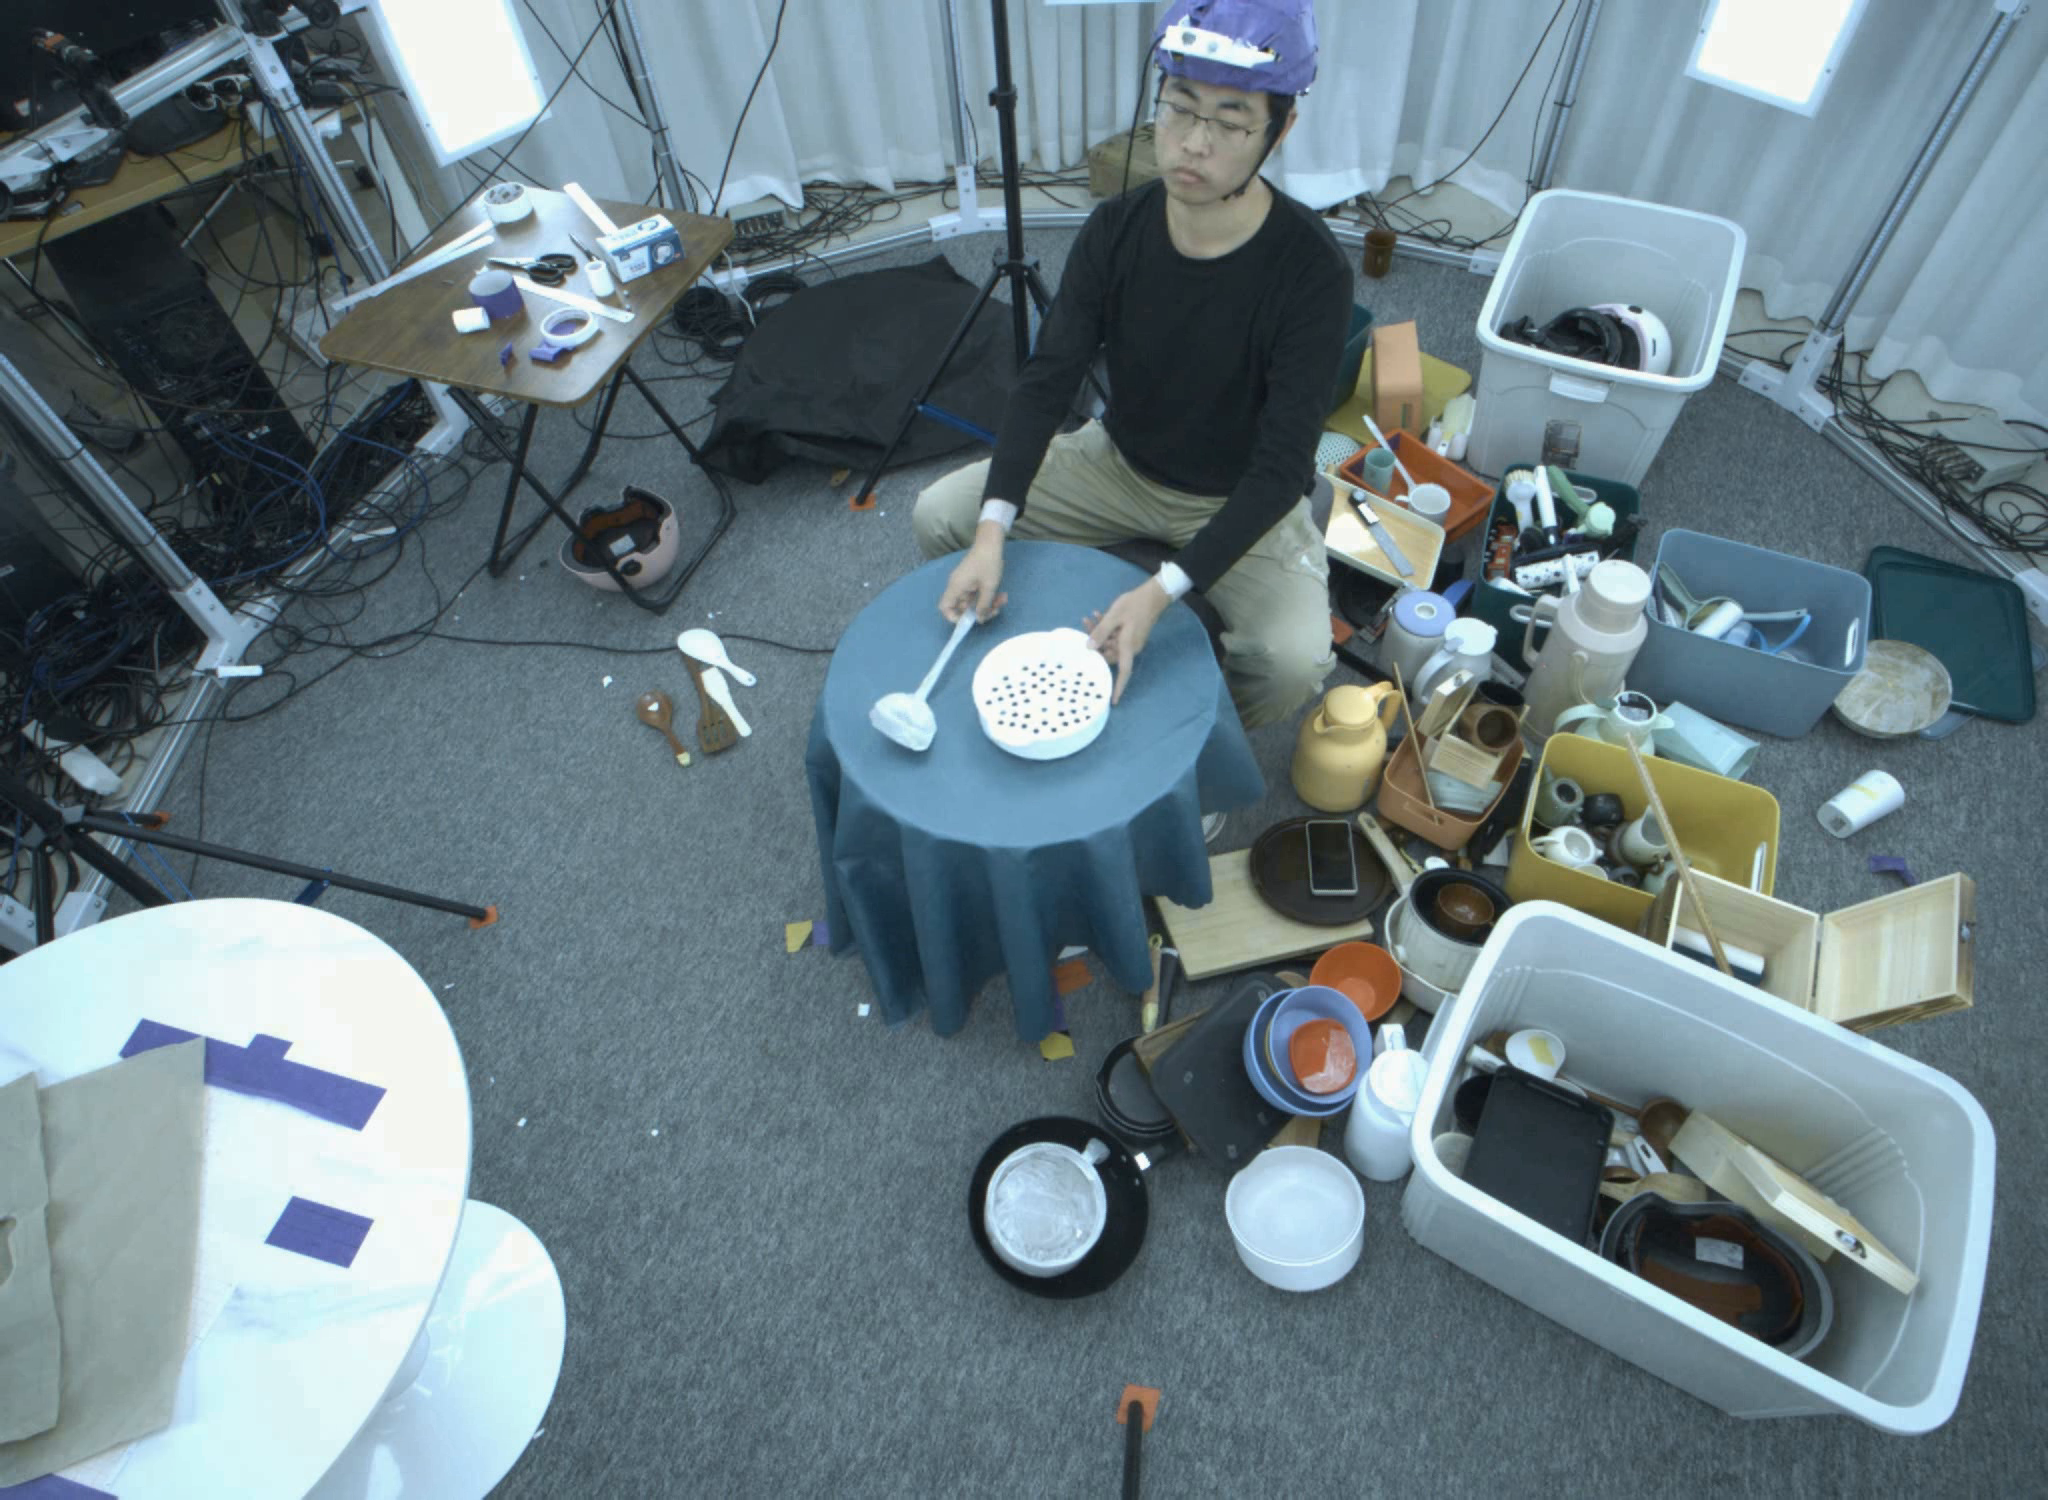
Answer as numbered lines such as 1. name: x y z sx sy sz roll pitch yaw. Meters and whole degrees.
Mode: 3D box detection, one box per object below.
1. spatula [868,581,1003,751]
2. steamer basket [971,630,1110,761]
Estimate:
1. spatula: -0.116 -0.144 1.857 0.099 0.044 0.365 31 62 -3
2. steamer basket: 0.025 -0.075 1.797 0.199 0.070 0.231 24 58 16
